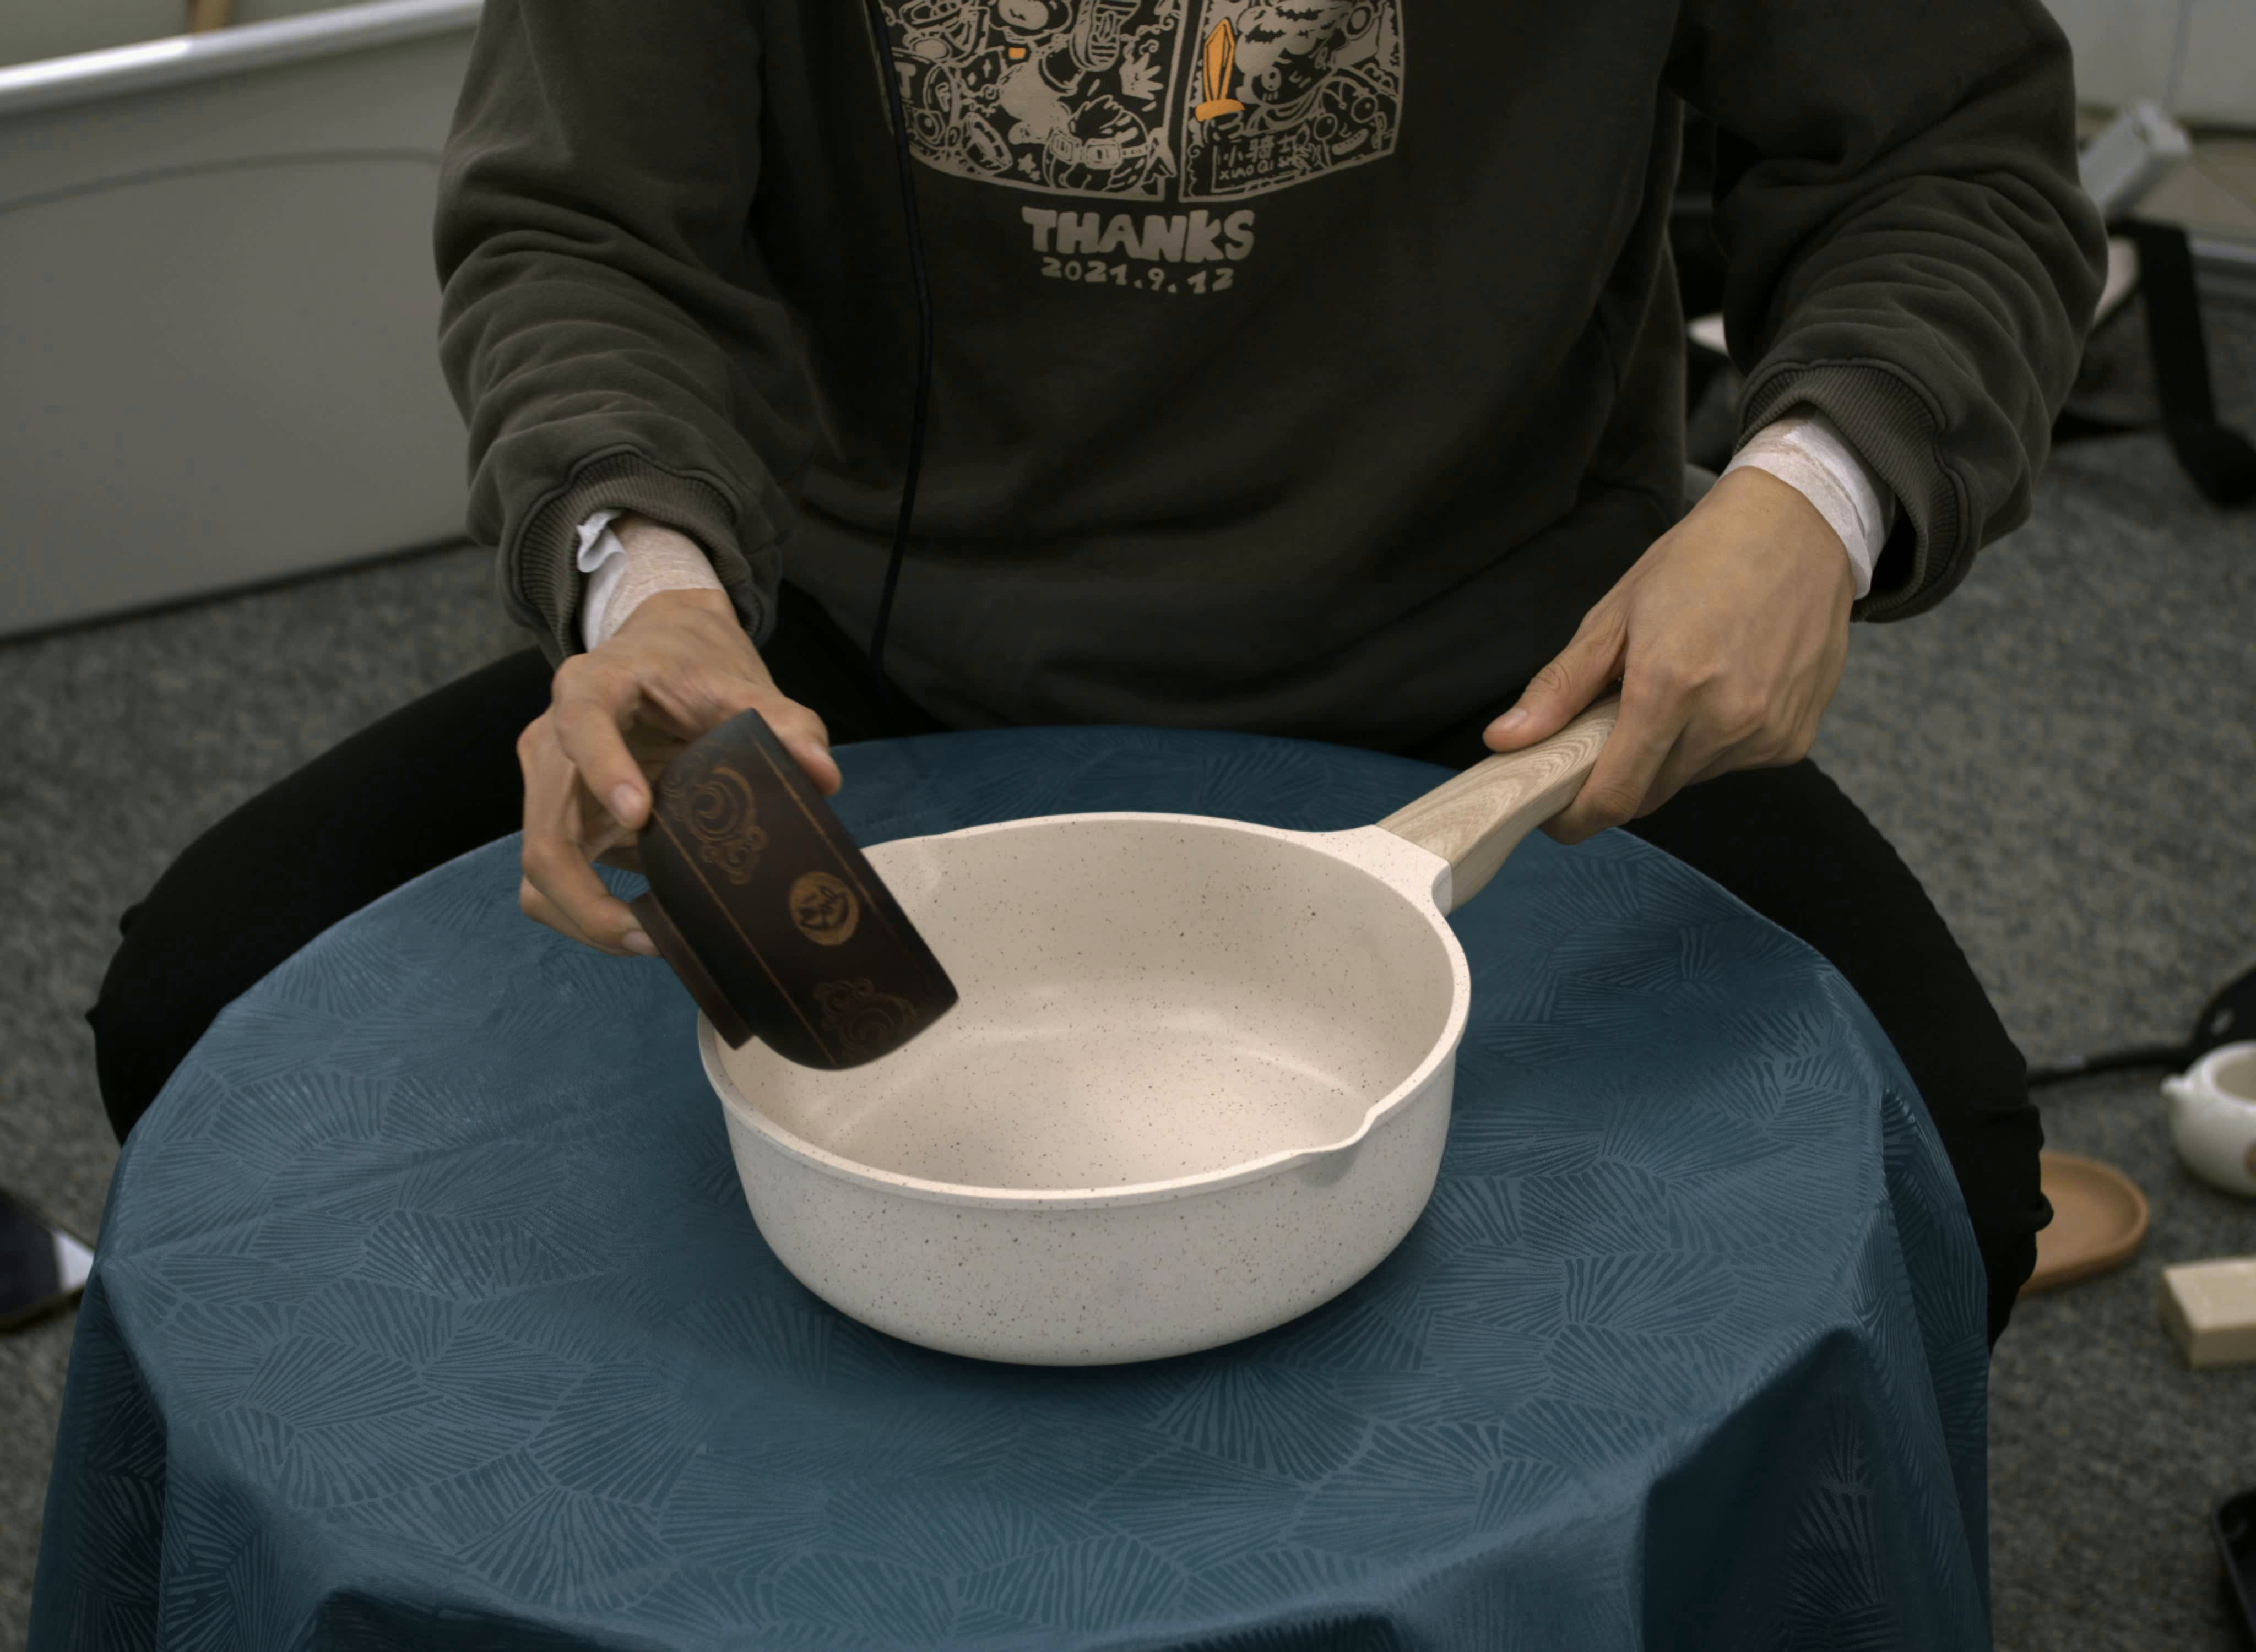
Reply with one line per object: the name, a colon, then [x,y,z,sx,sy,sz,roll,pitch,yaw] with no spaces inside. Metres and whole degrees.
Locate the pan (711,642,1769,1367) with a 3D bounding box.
pan: [0.061,0.054,1.880,0.439,0.101,0.263,-23,32,-35]

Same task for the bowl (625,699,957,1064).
bowl: [-0.115,0.026,1.773,0.070,0.117,0.119,-37,34,-5]
